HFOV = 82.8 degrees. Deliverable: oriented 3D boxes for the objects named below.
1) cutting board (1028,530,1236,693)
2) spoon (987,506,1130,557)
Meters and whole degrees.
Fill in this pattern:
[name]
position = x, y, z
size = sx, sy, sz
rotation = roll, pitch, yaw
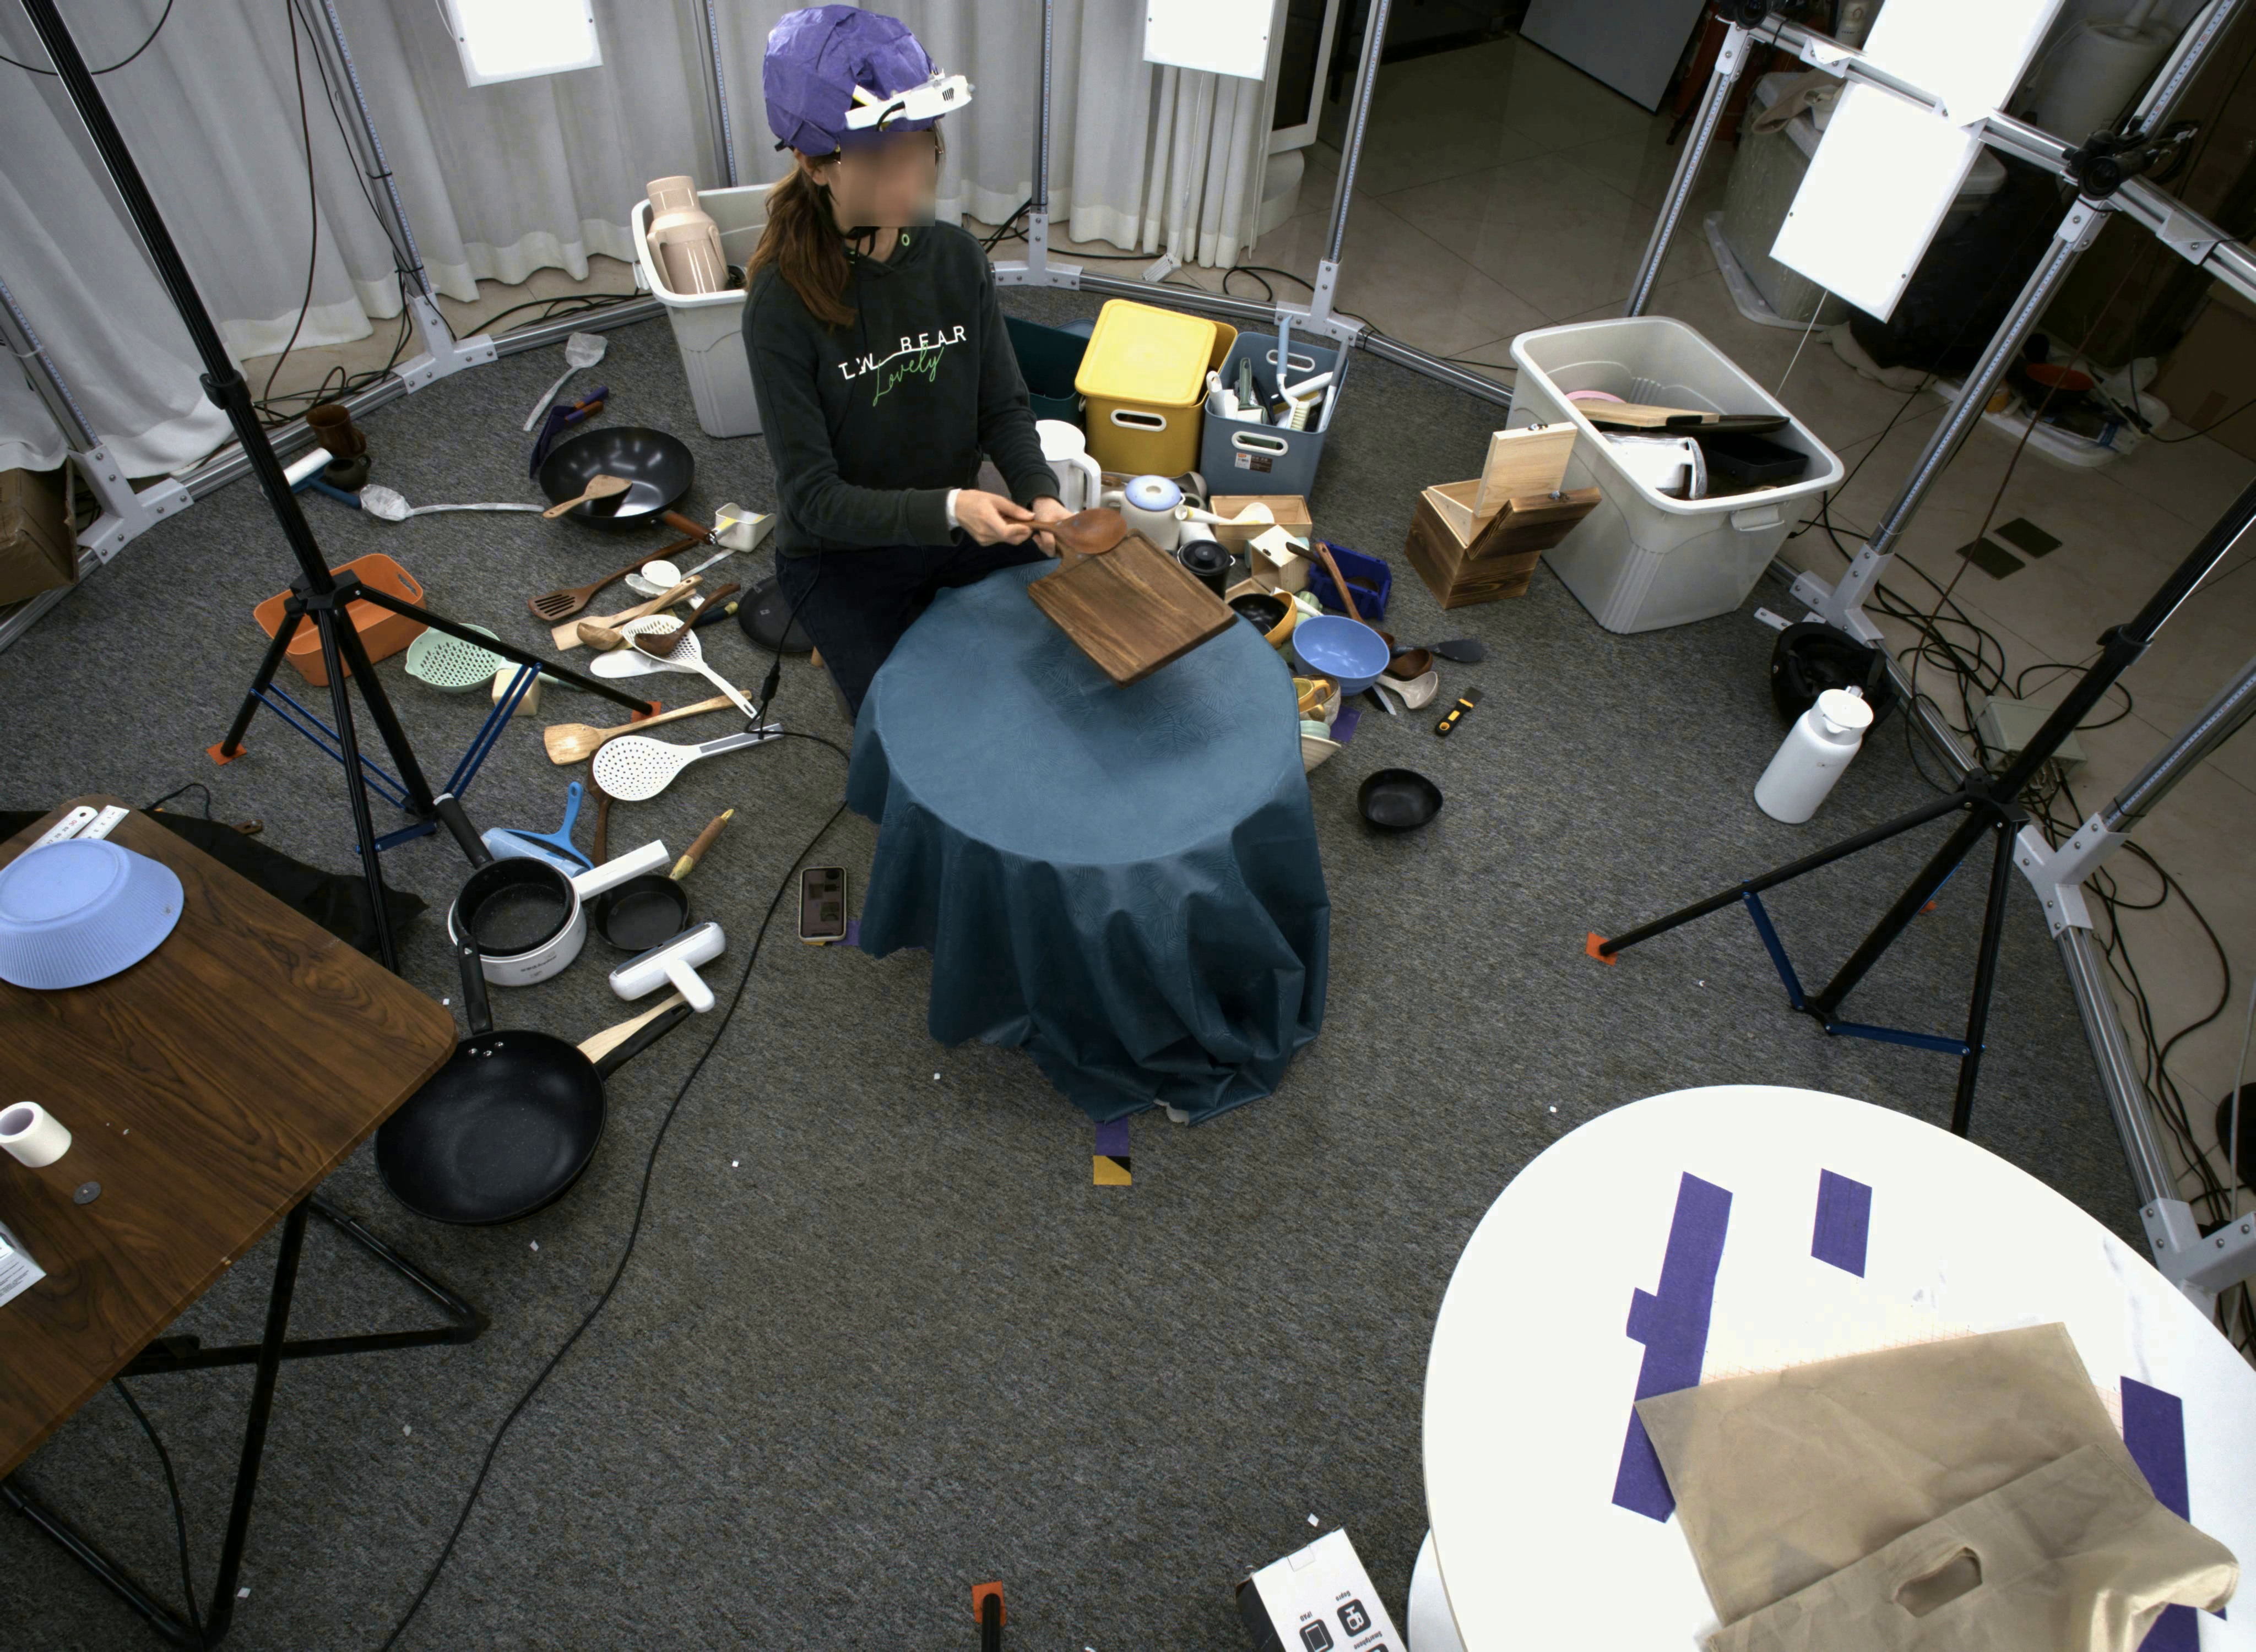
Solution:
[cutting board]
position = -0.025, -0.337, 1.838
size = 0.202, 0.022, 0.359
rotation = -32, 52, -13
[spoon]
position = -0.096, -0.410, 1.776
size = 0.217, 0.017, 0.076
rotation = 11, 73, 22
